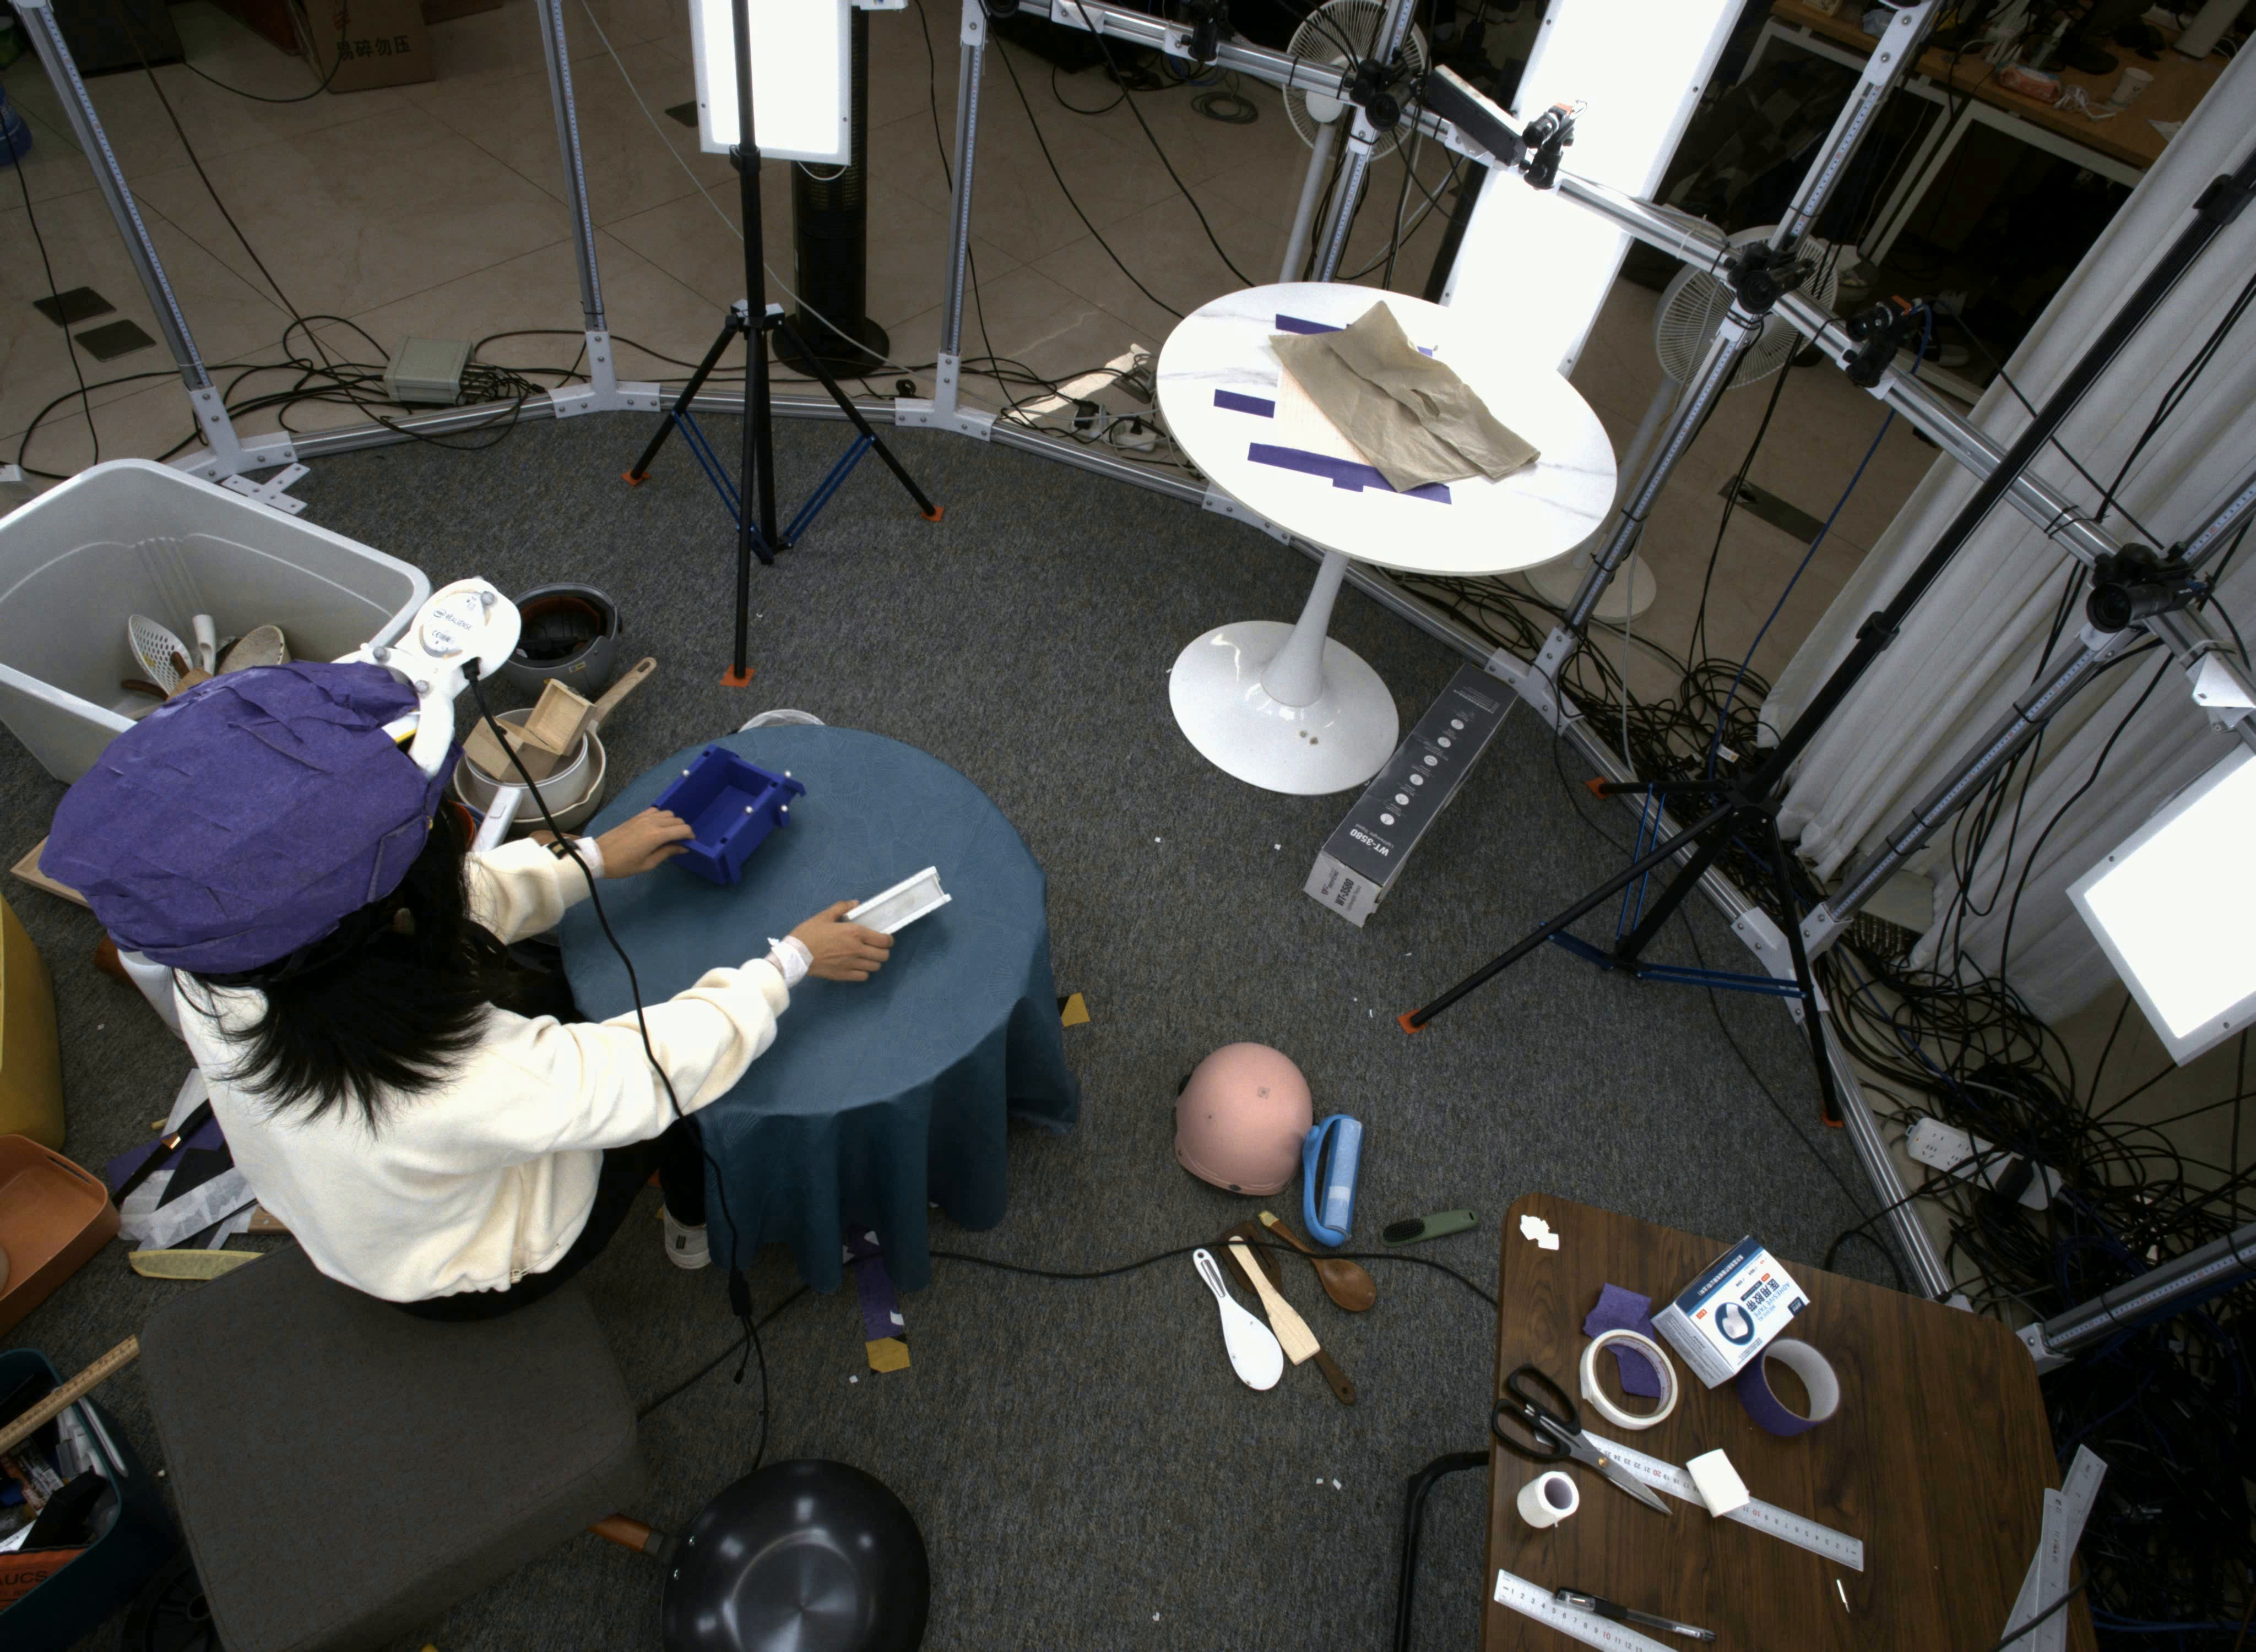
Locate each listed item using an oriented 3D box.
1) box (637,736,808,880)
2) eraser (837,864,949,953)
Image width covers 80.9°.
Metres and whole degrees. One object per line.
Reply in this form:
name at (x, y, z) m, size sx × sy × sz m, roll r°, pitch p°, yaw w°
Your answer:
box at (-0.512, -0.030, 1.638) m, size 0.121 × 0.084 × 0.178 m, roll 23°, pitch 55°, yaw 14°
eraser at (-0.292, 0.100, 1.609) m, size 0.135 × 0.045 × 0.051 m, roll -34°, pitch 104°, yaw -35°
